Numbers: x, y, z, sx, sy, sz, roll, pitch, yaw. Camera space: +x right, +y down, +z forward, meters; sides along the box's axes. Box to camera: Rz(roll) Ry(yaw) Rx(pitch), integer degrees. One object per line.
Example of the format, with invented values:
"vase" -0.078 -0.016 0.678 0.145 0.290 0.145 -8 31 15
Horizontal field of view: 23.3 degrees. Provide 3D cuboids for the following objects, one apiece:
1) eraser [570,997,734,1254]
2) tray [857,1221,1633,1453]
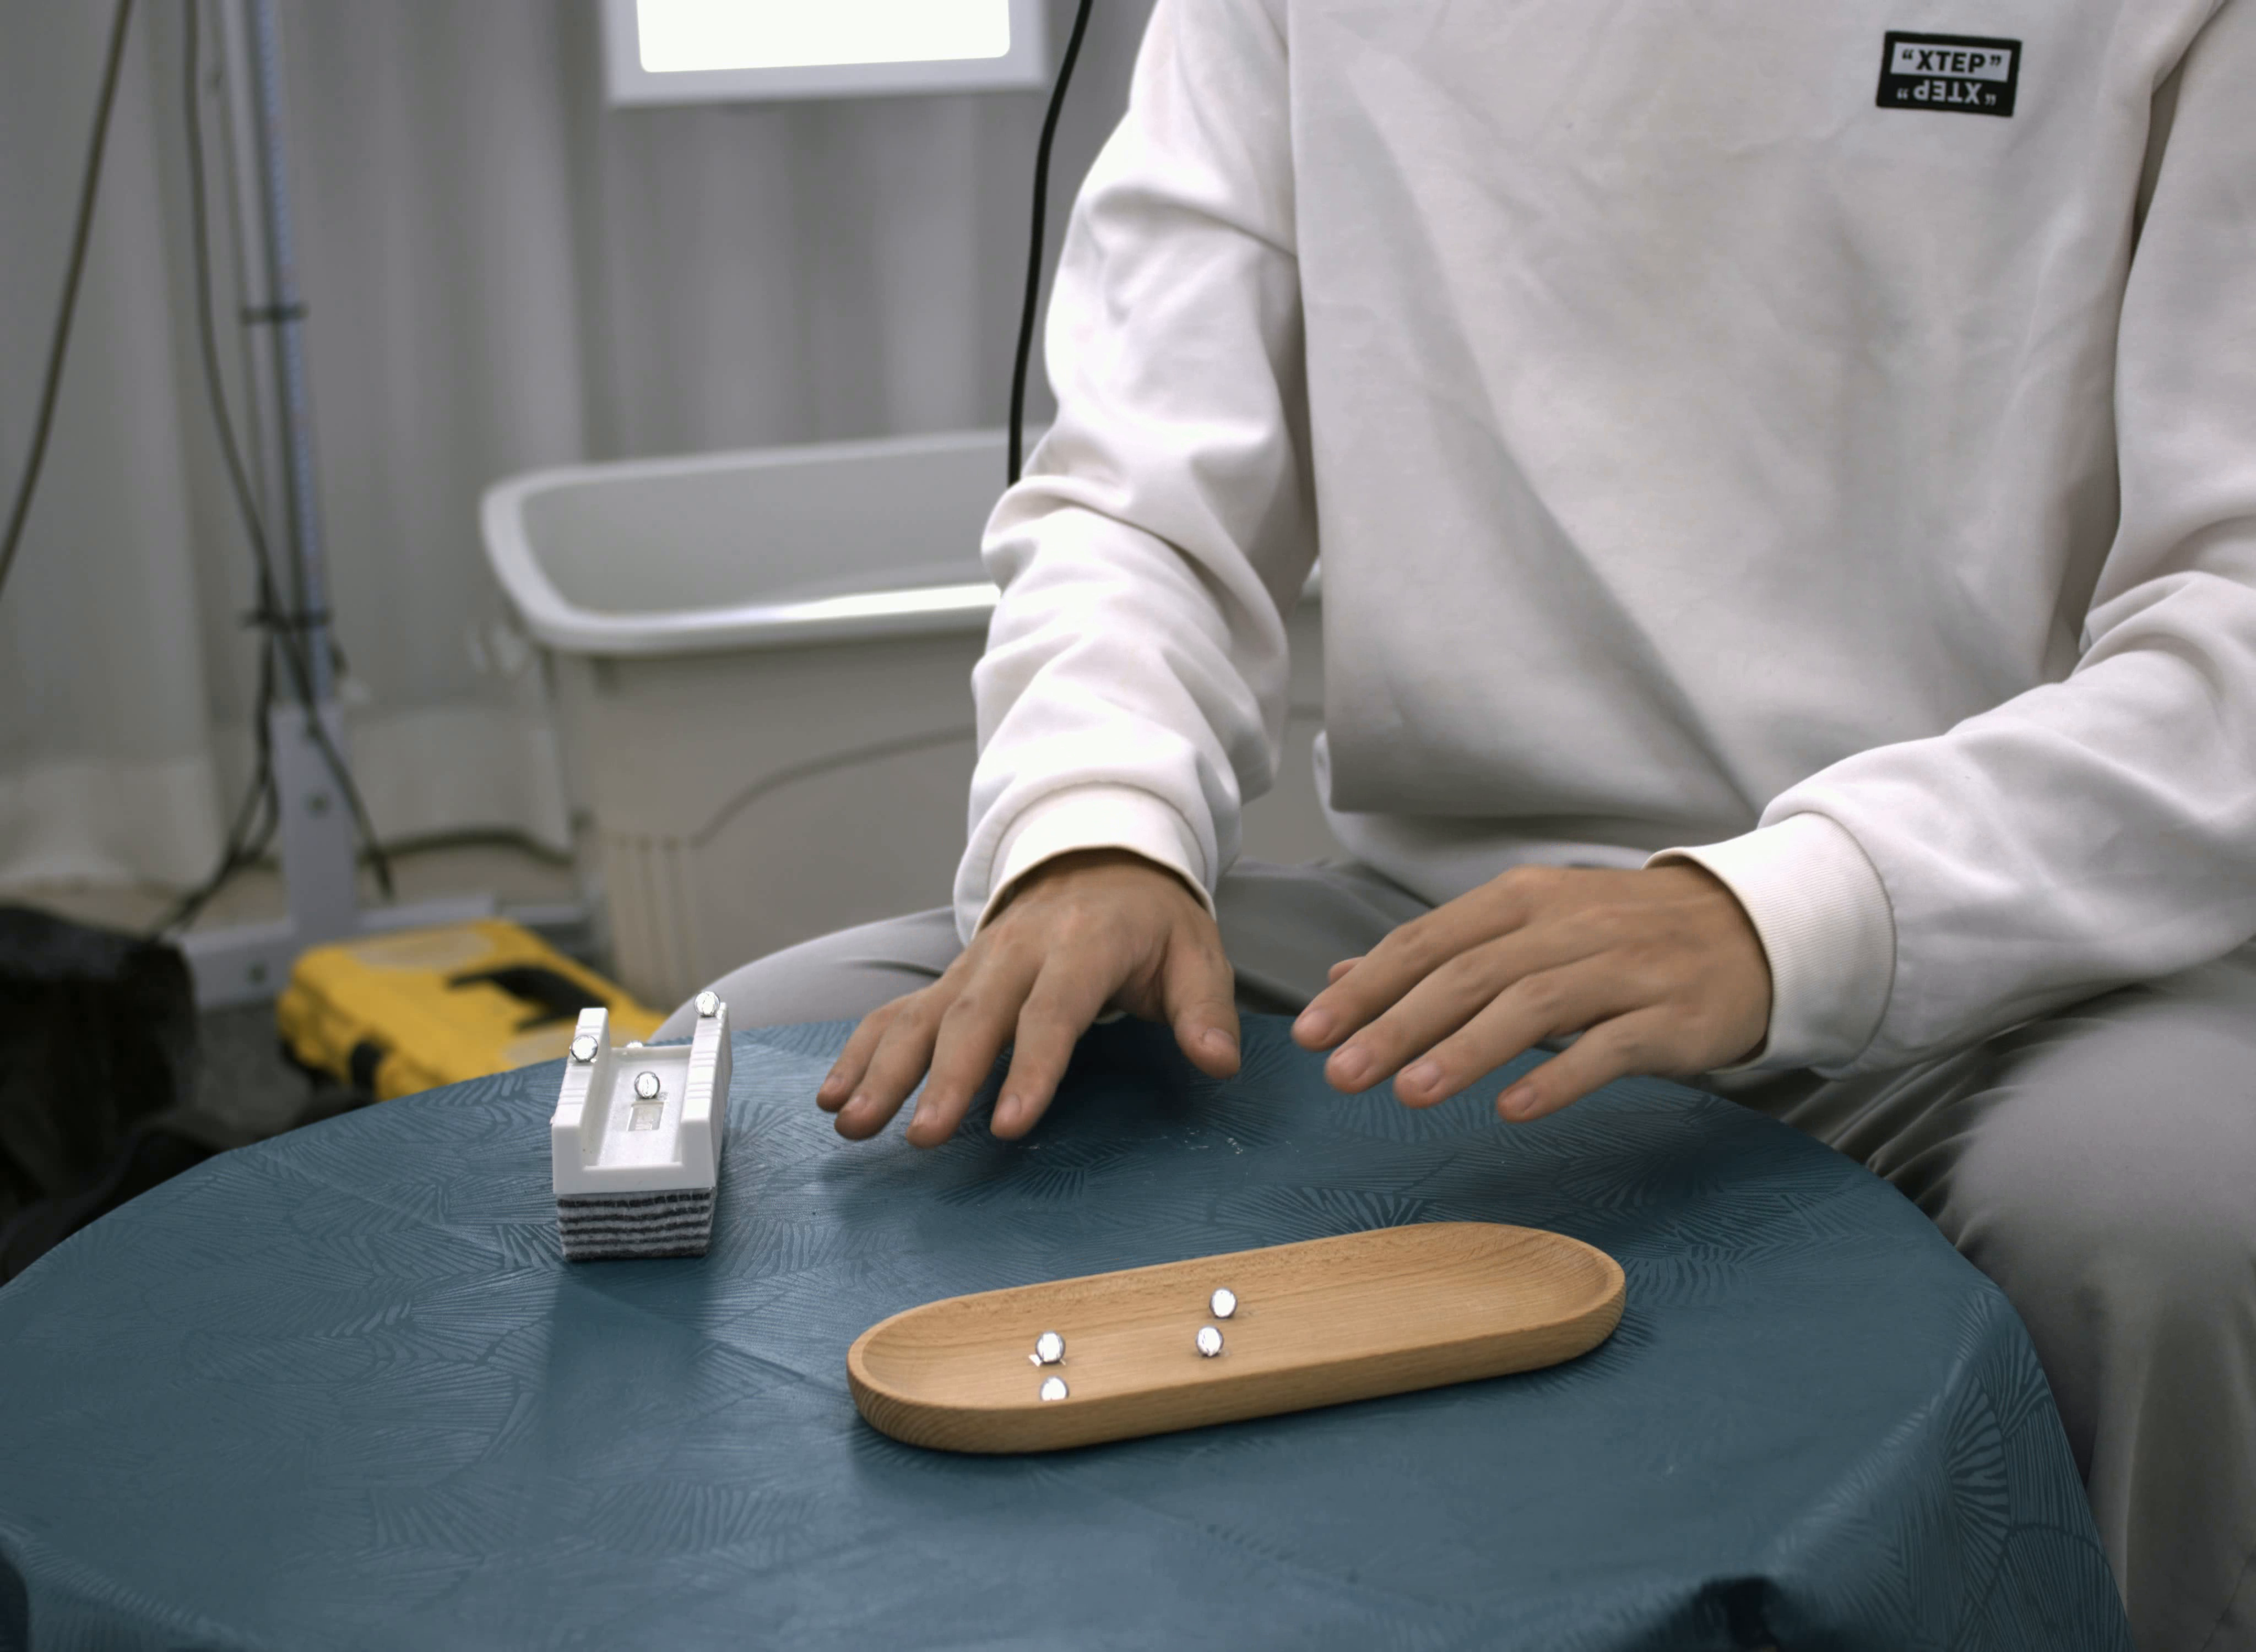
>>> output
"eraser" -0.151 0.094 1.730 0.049 0.046 0.135 1 14 -6
"tray" 0.035 0.146 1.563 0.230 0.020 0.102 -6 16 -20
